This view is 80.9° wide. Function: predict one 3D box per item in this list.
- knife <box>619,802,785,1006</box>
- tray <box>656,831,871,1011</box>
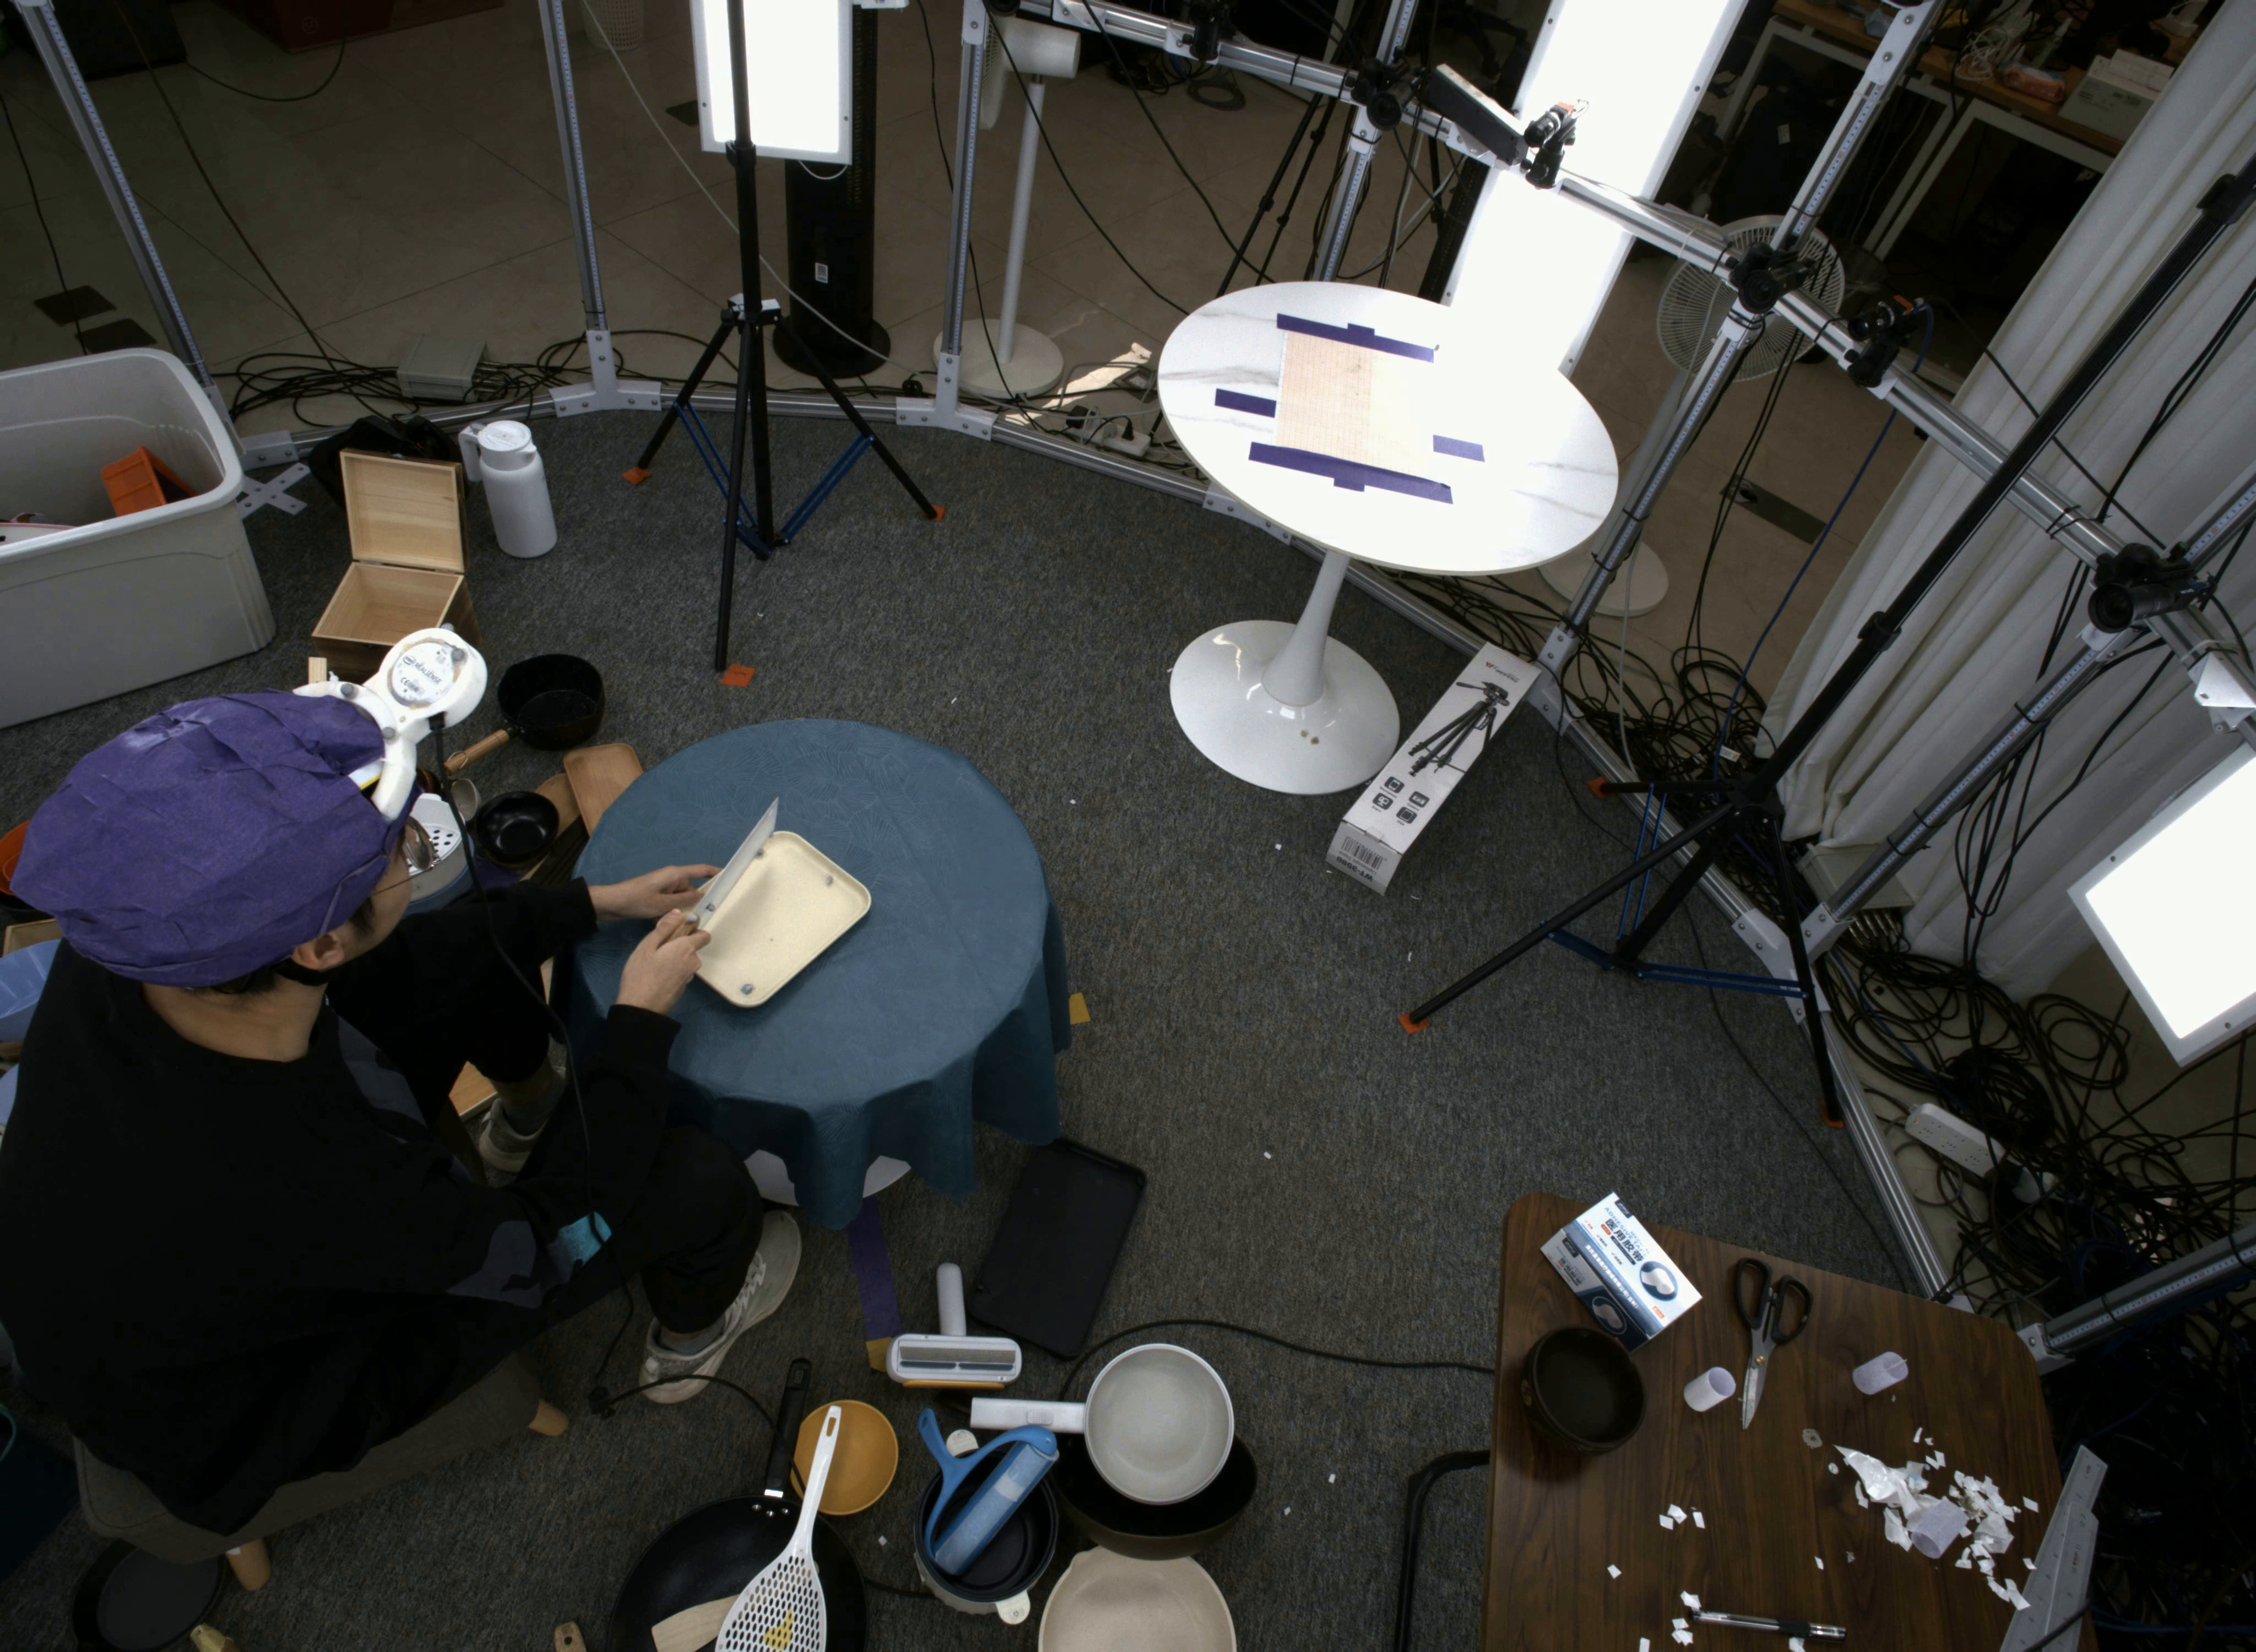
[{"bbox_3d":[-0.496,0.090,1.505,0.021,0.092,0.304,38,58,-8],"label":"knife"},{"bbox_3d":[-0.446,0.112,1.596,0.169,0.018,0.239,37,49,8],"label":"tray"}]
